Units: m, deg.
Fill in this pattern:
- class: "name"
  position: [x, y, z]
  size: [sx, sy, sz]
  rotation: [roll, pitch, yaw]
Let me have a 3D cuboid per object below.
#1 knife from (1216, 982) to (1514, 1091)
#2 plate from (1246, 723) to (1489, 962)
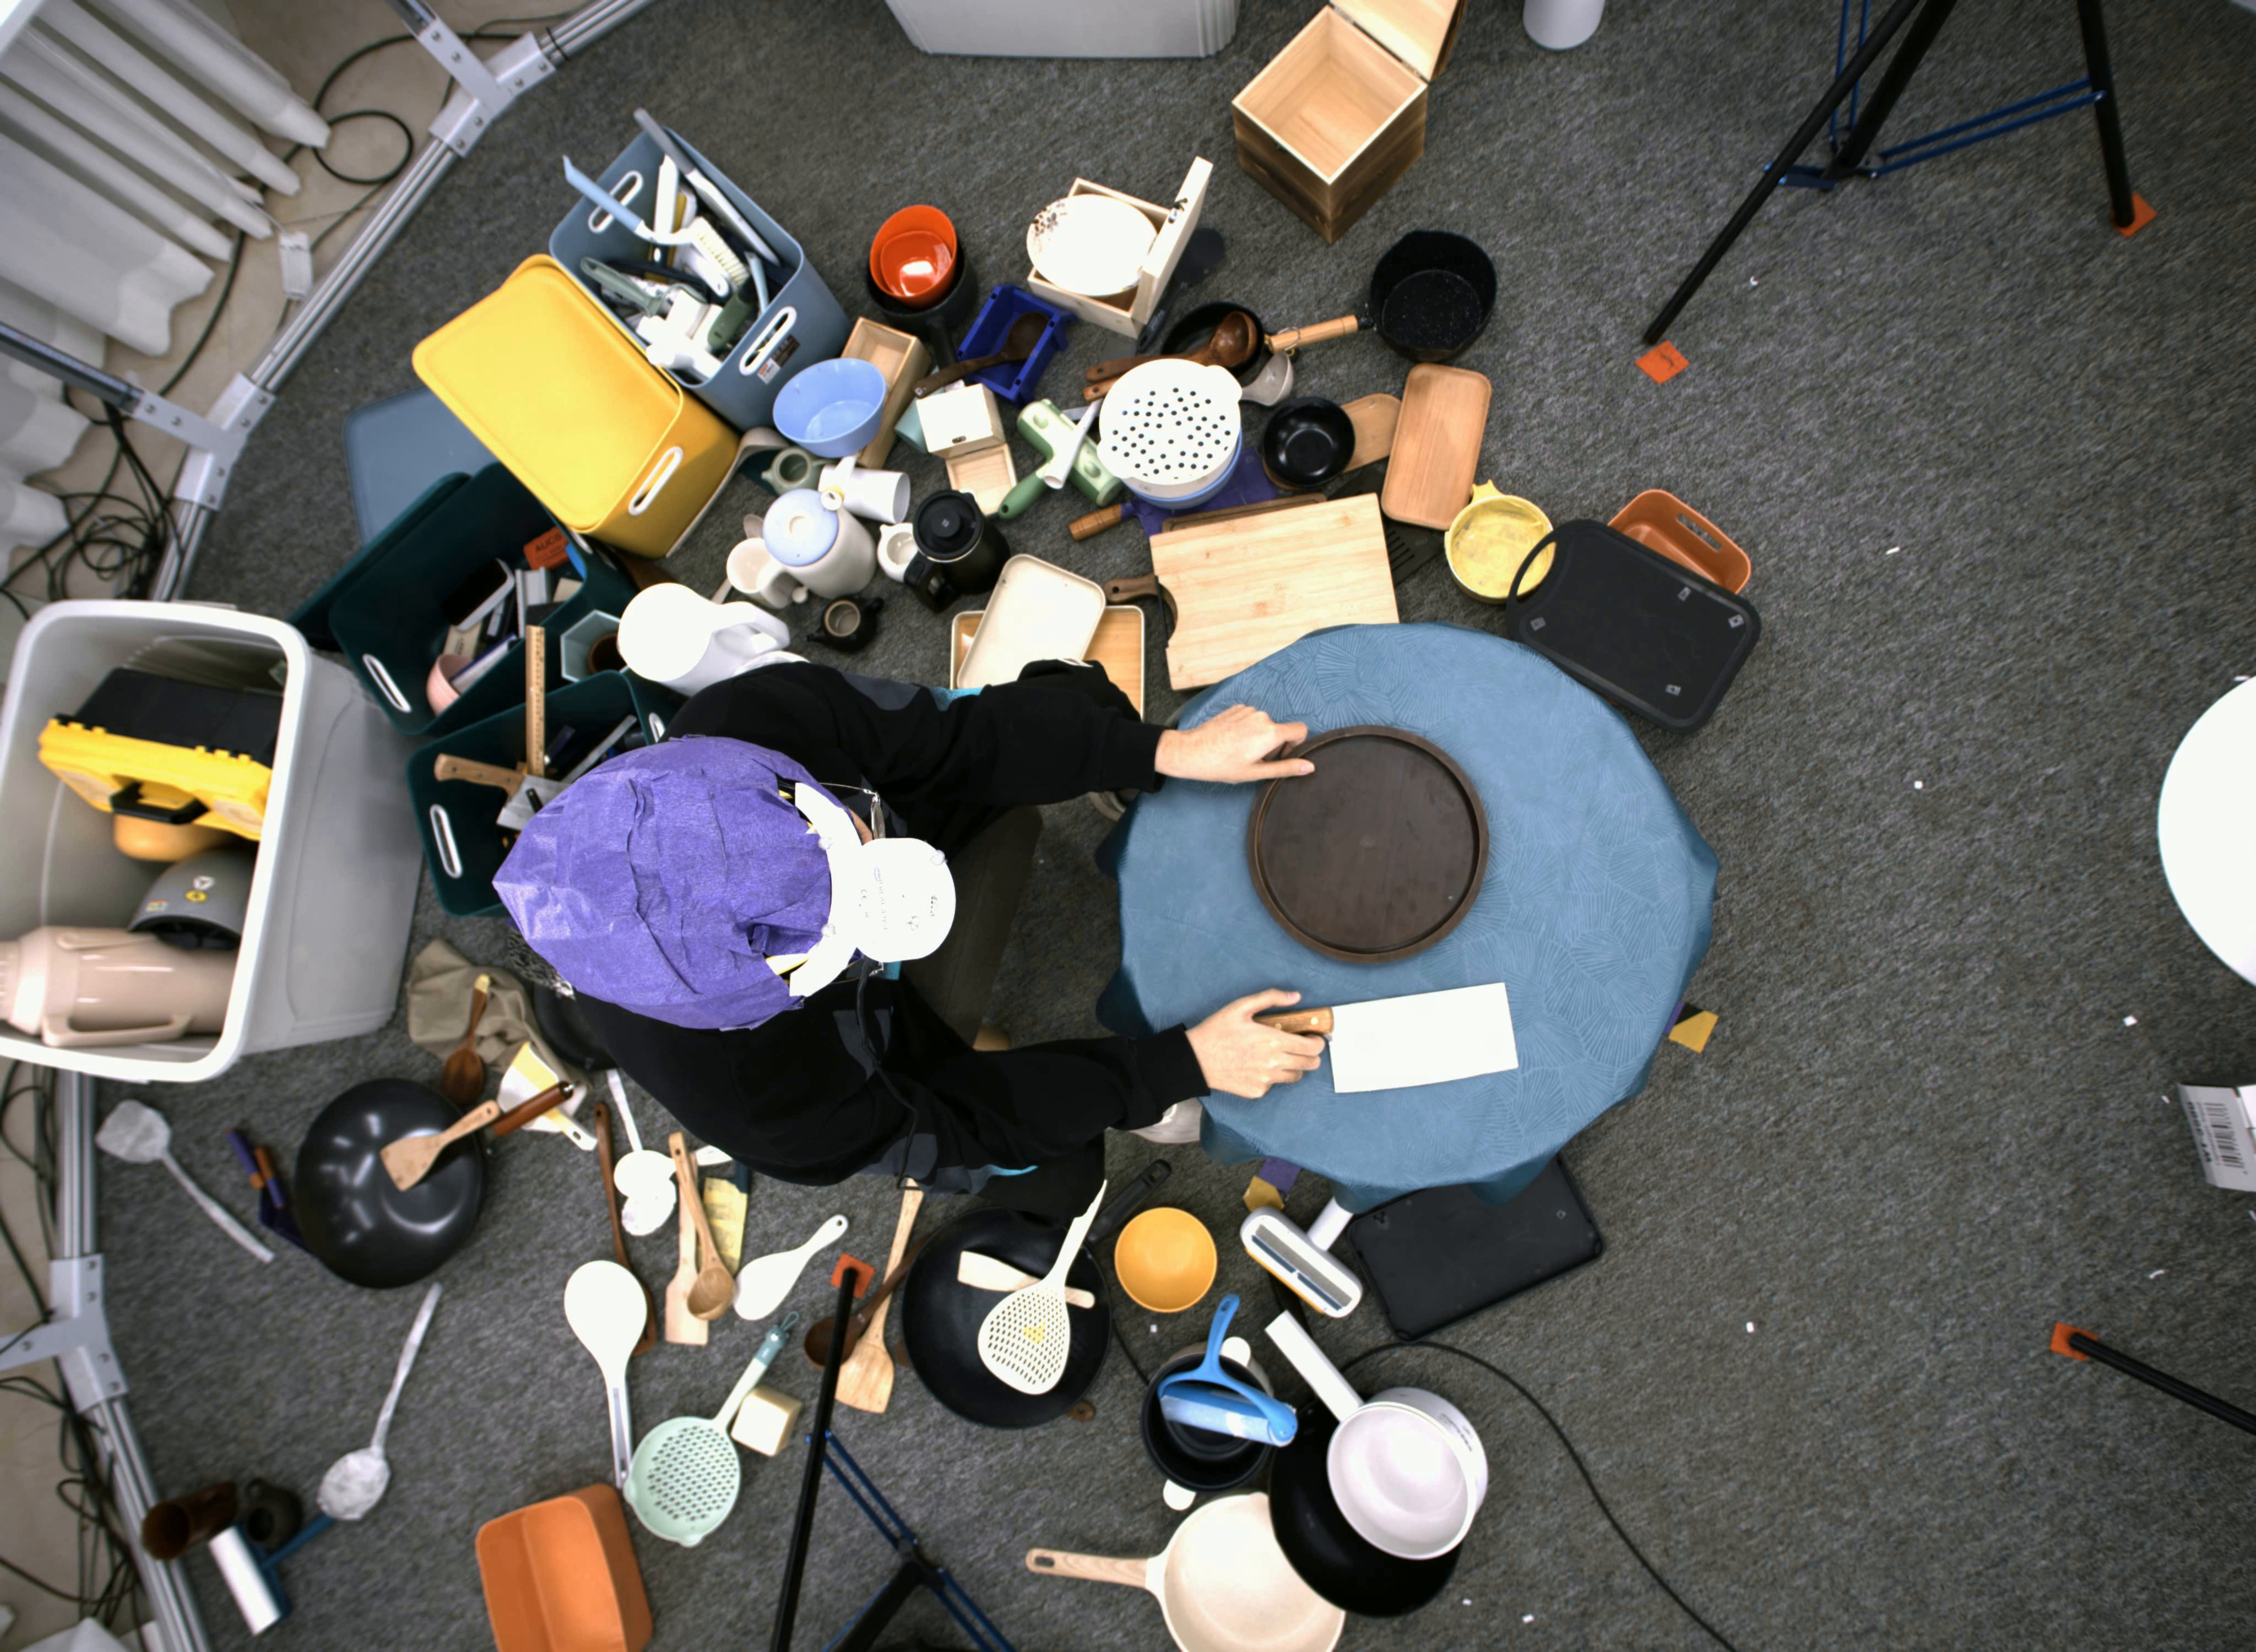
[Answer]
- class: "knife"
  position: [0.248, 0.226, 1.448]
  size: [0.307, 0.021, 0.092]
  rotation: [-9, 87, 7]
- class: "plate"
  position: [0.251, 0.016, 1.454]
  size: [0.256, 0.029, 0.253]
  rotation: [-1, 85, 10]
